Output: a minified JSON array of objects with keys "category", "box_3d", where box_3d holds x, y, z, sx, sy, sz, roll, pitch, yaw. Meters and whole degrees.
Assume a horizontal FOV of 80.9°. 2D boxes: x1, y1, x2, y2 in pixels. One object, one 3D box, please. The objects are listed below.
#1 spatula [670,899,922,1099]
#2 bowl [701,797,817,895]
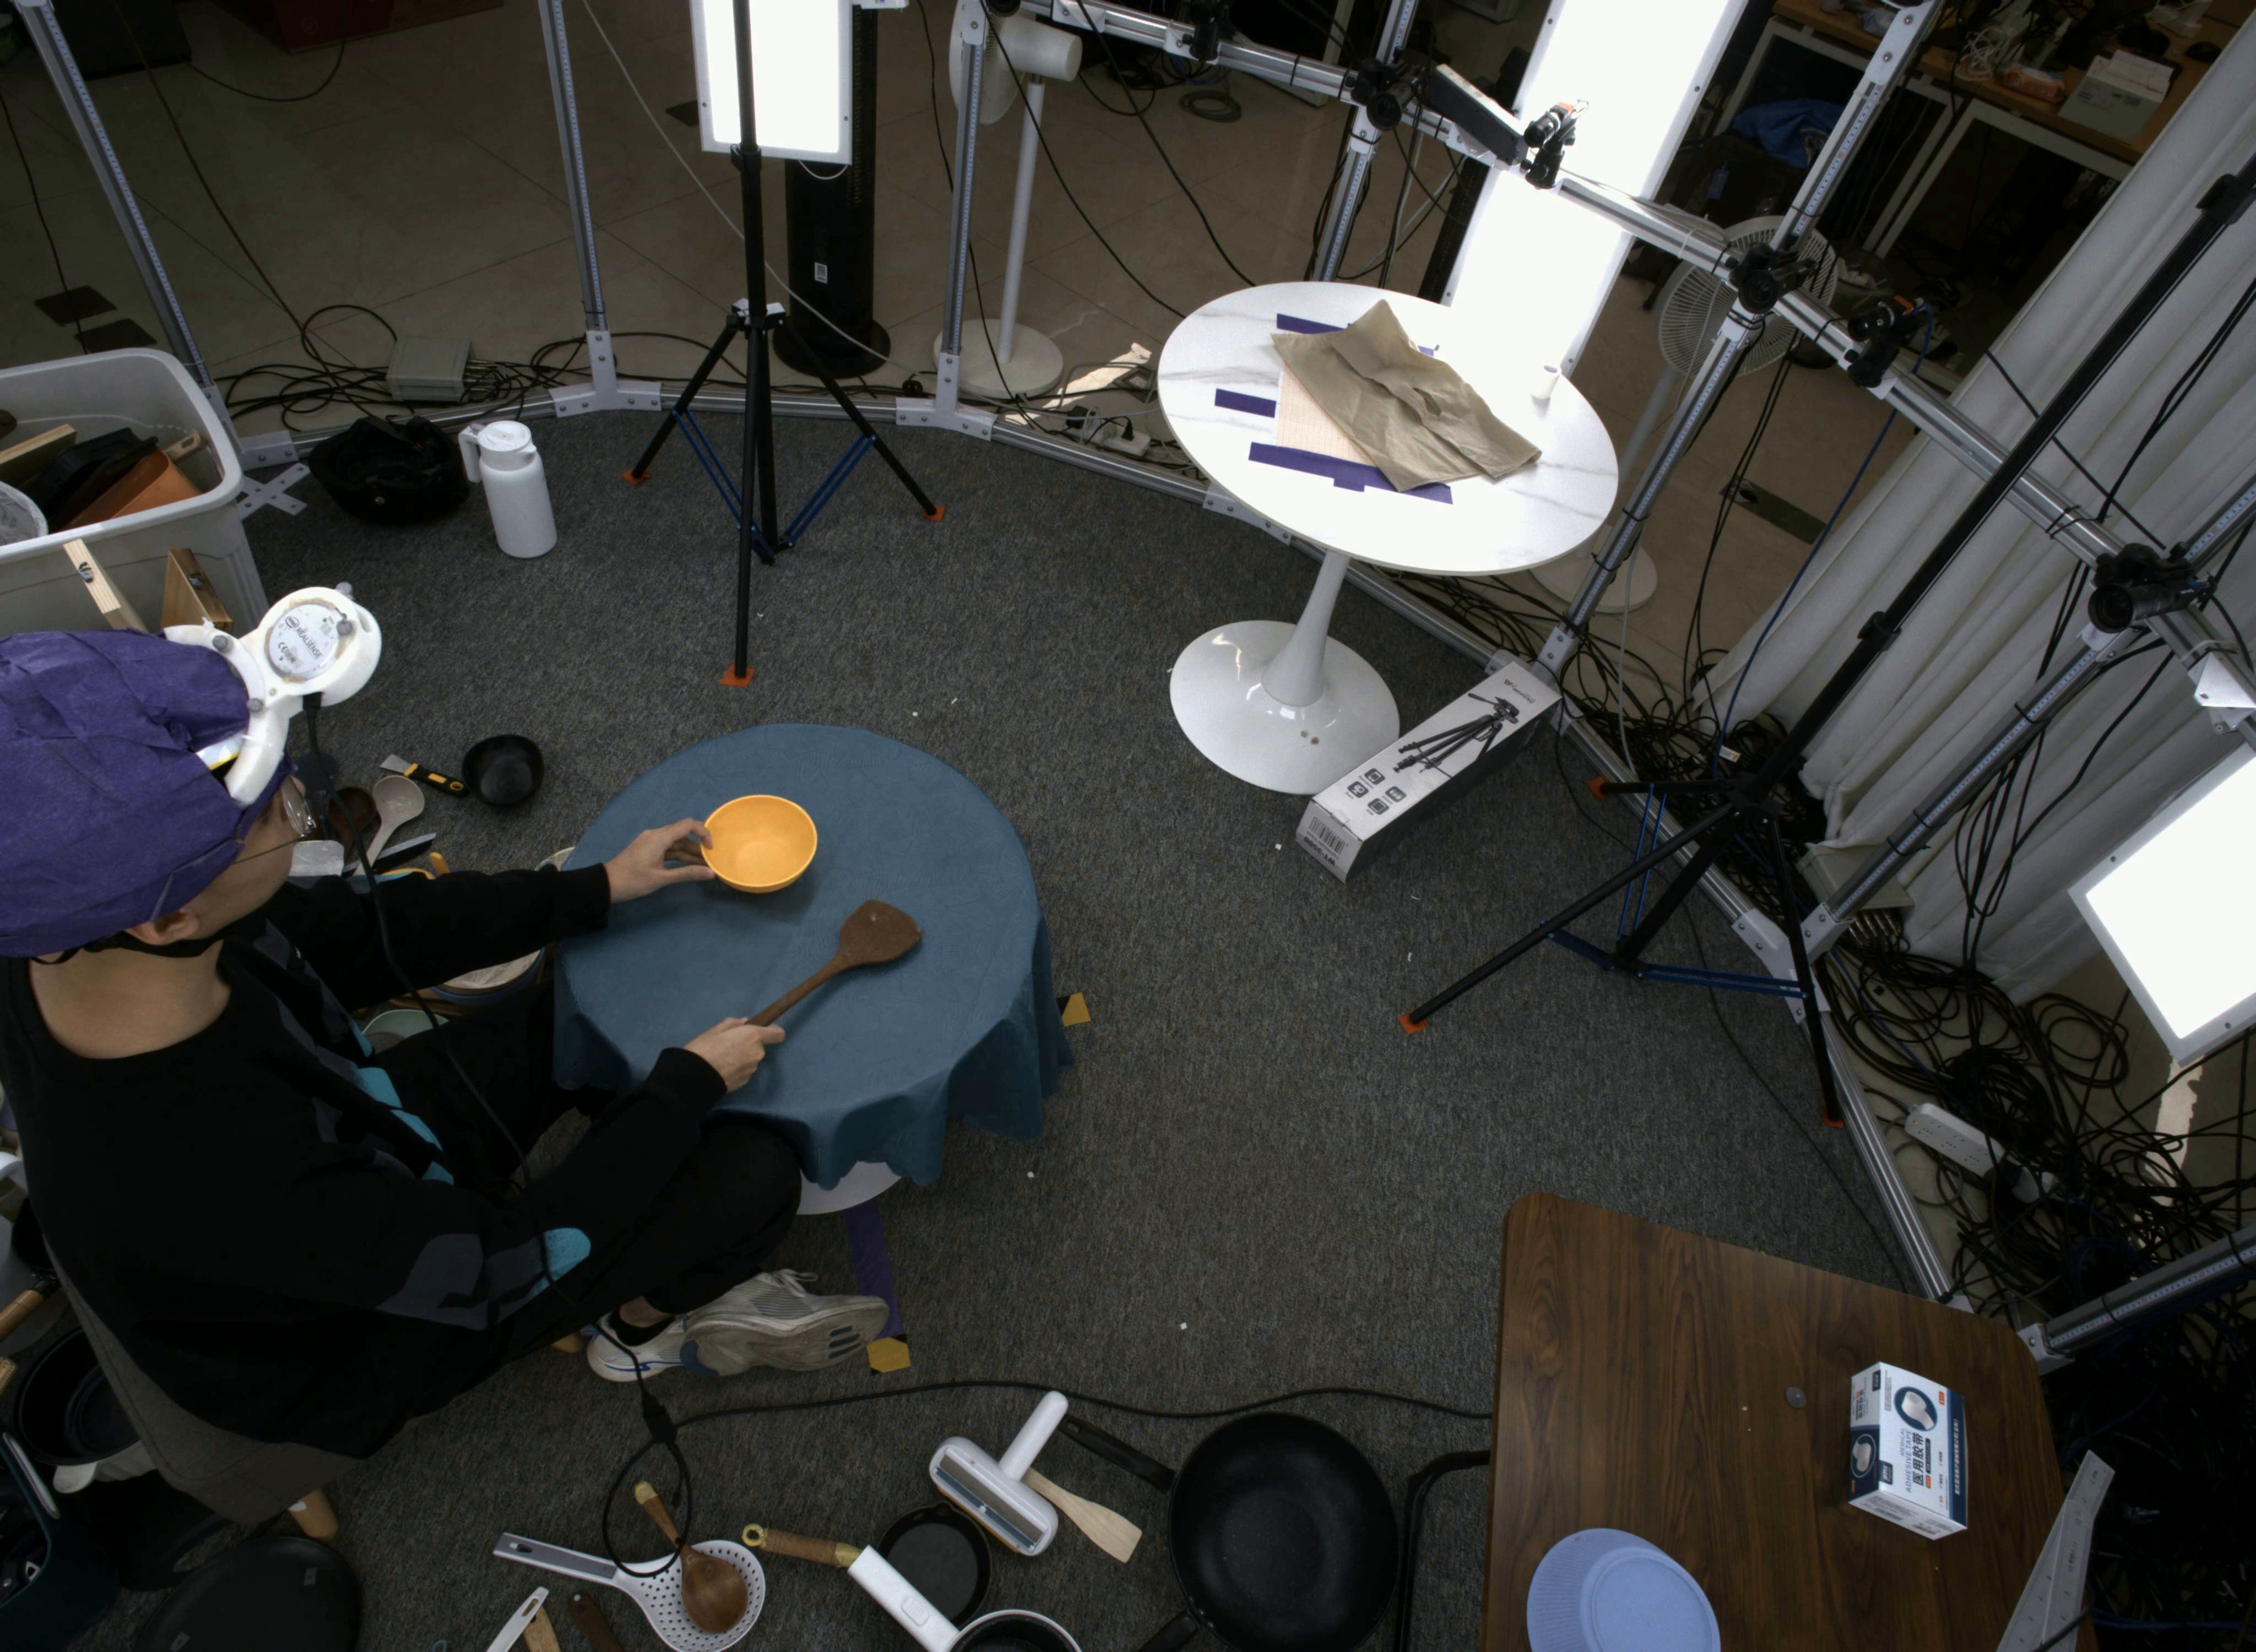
[{"category":"spatula","box_3d":[-0.396,0.199,1.544,0.093,0.016,0.386,29,42,19]},{"category":"bowl","box_3d":[-0.469,0.035,1.656,0.145,0.061,0.143,6,52,-7]}]
